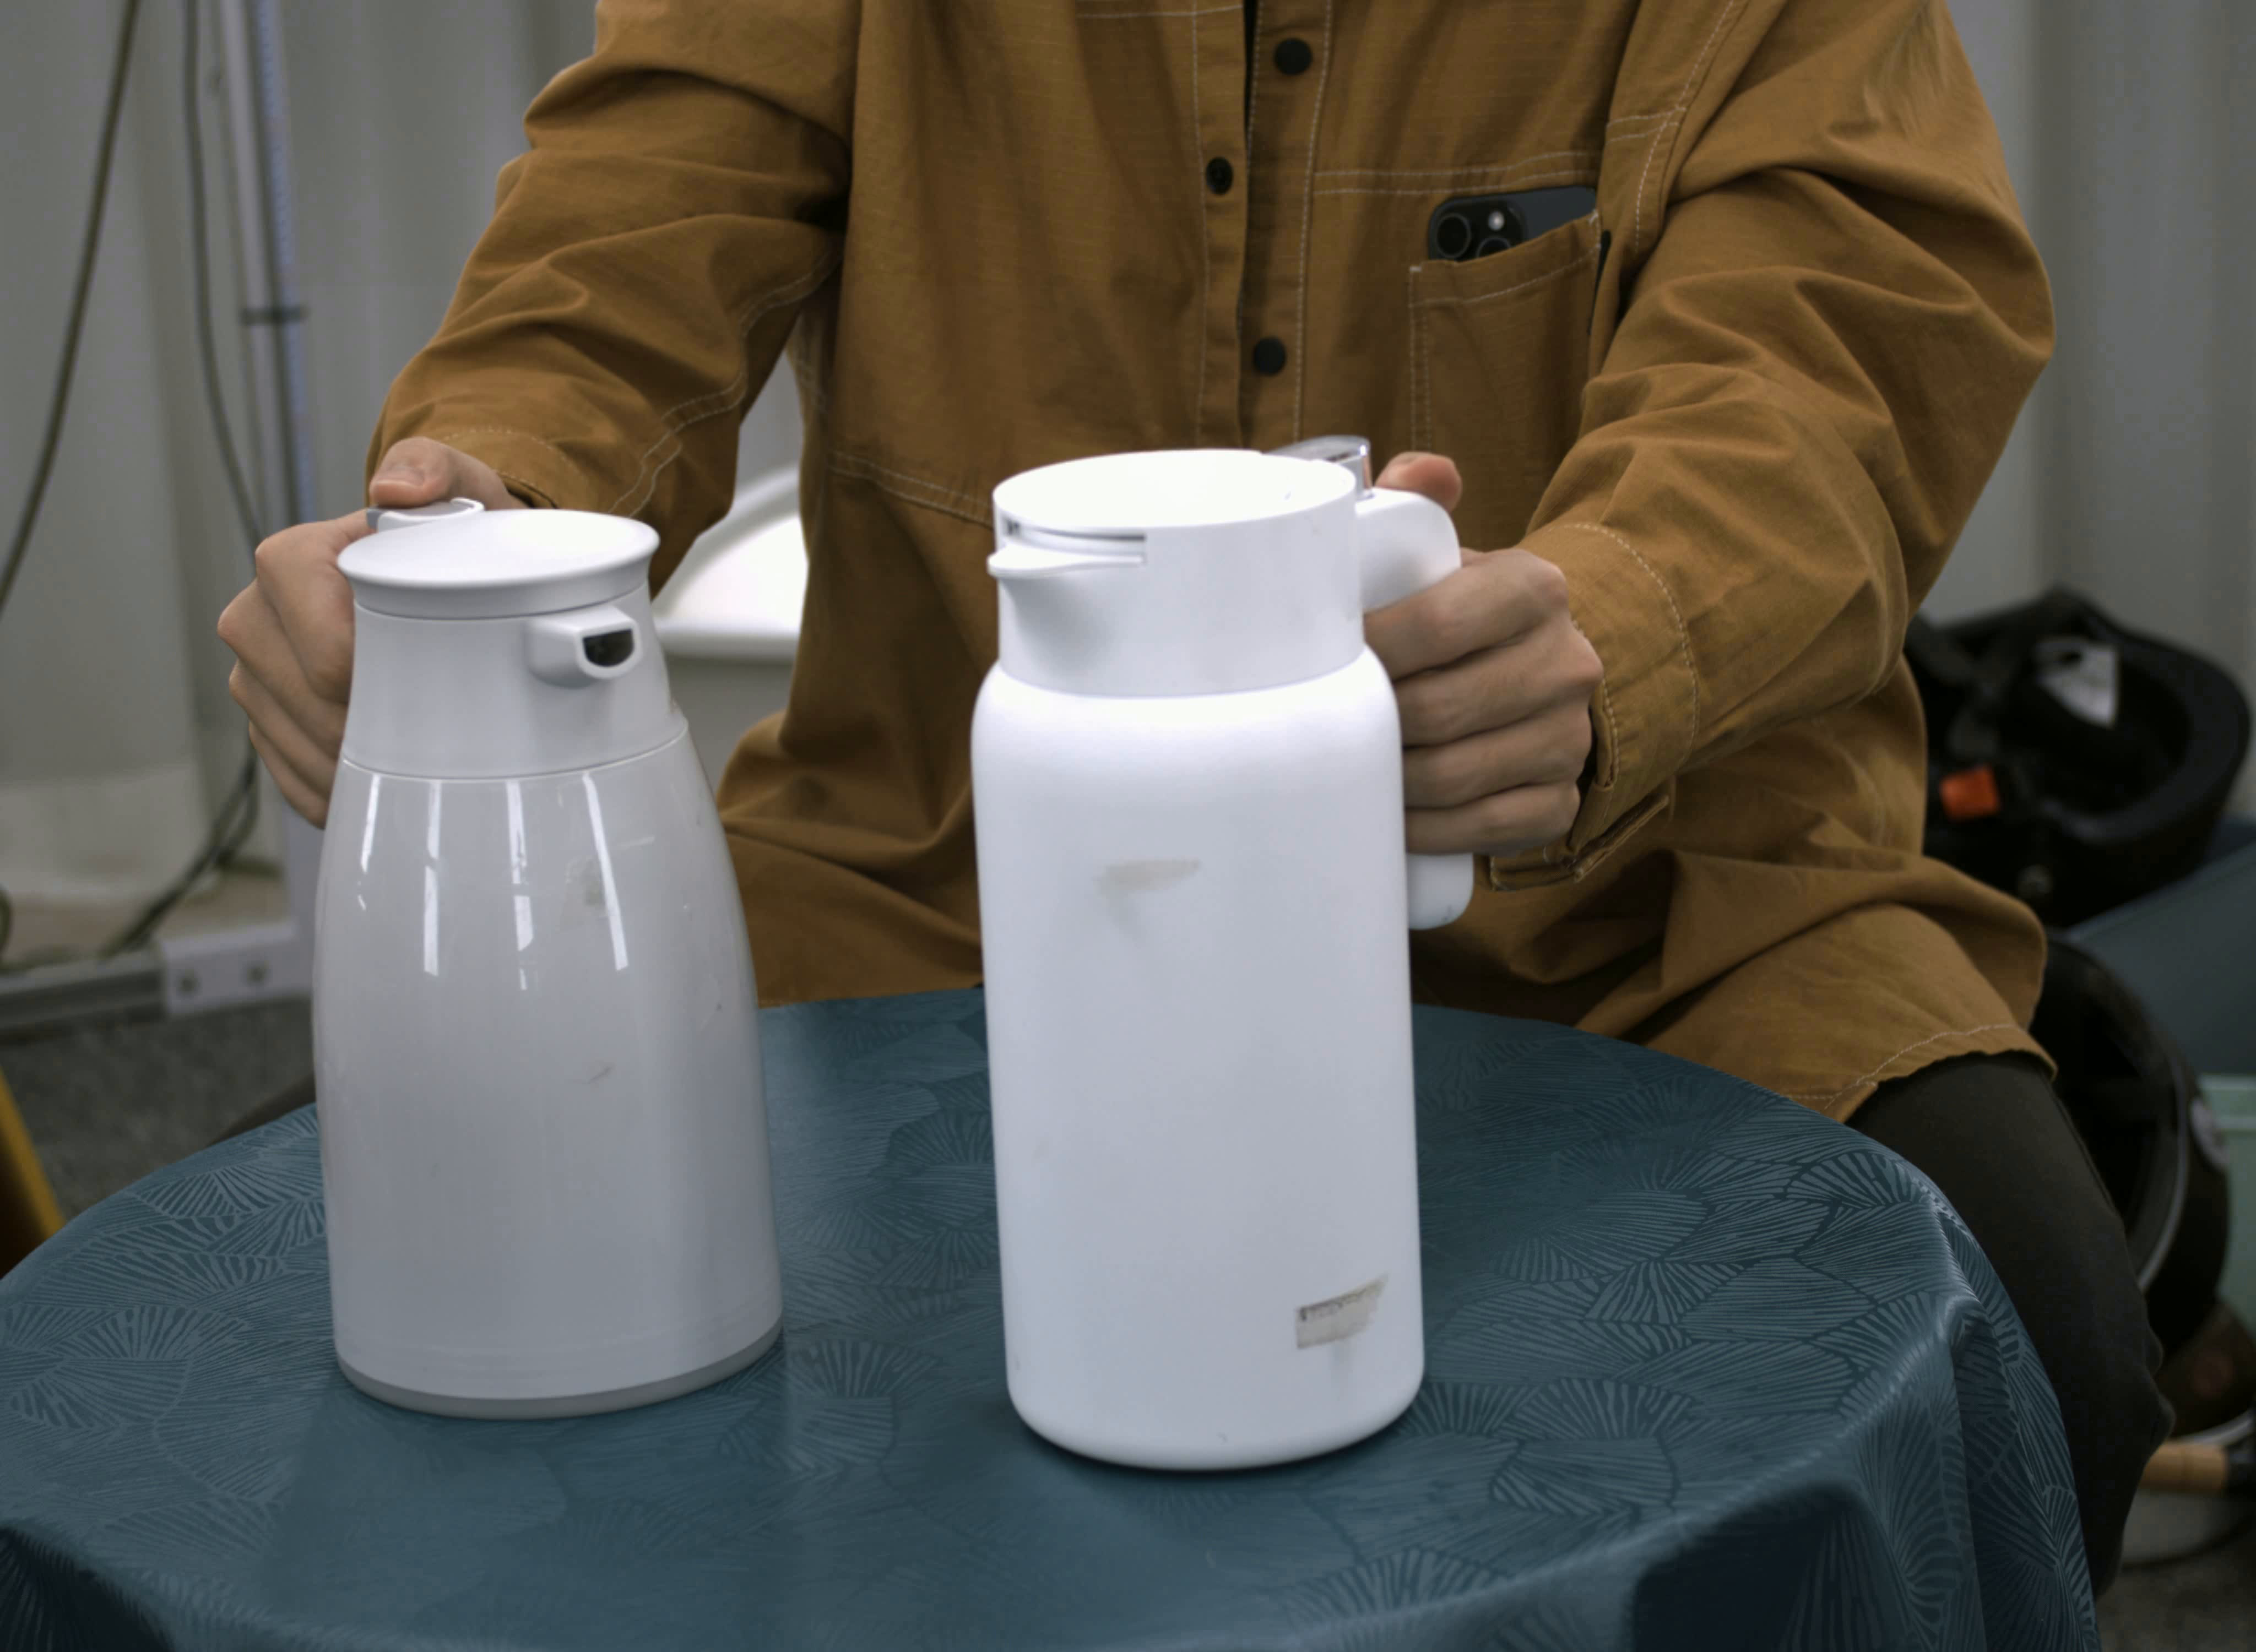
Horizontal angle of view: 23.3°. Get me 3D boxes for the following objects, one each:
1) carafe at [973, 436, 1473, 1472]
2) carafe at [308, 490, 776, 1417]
[{"bbox_3d":[0.030,0.030,1.510,0.124,0.268,0.172,7,16,42],"label":"carafe"},{"bbox_3d":[-0.185,0.028,1.595,0.132,0.248,0.169,-12,16,-34],"label":"carafe"}]
